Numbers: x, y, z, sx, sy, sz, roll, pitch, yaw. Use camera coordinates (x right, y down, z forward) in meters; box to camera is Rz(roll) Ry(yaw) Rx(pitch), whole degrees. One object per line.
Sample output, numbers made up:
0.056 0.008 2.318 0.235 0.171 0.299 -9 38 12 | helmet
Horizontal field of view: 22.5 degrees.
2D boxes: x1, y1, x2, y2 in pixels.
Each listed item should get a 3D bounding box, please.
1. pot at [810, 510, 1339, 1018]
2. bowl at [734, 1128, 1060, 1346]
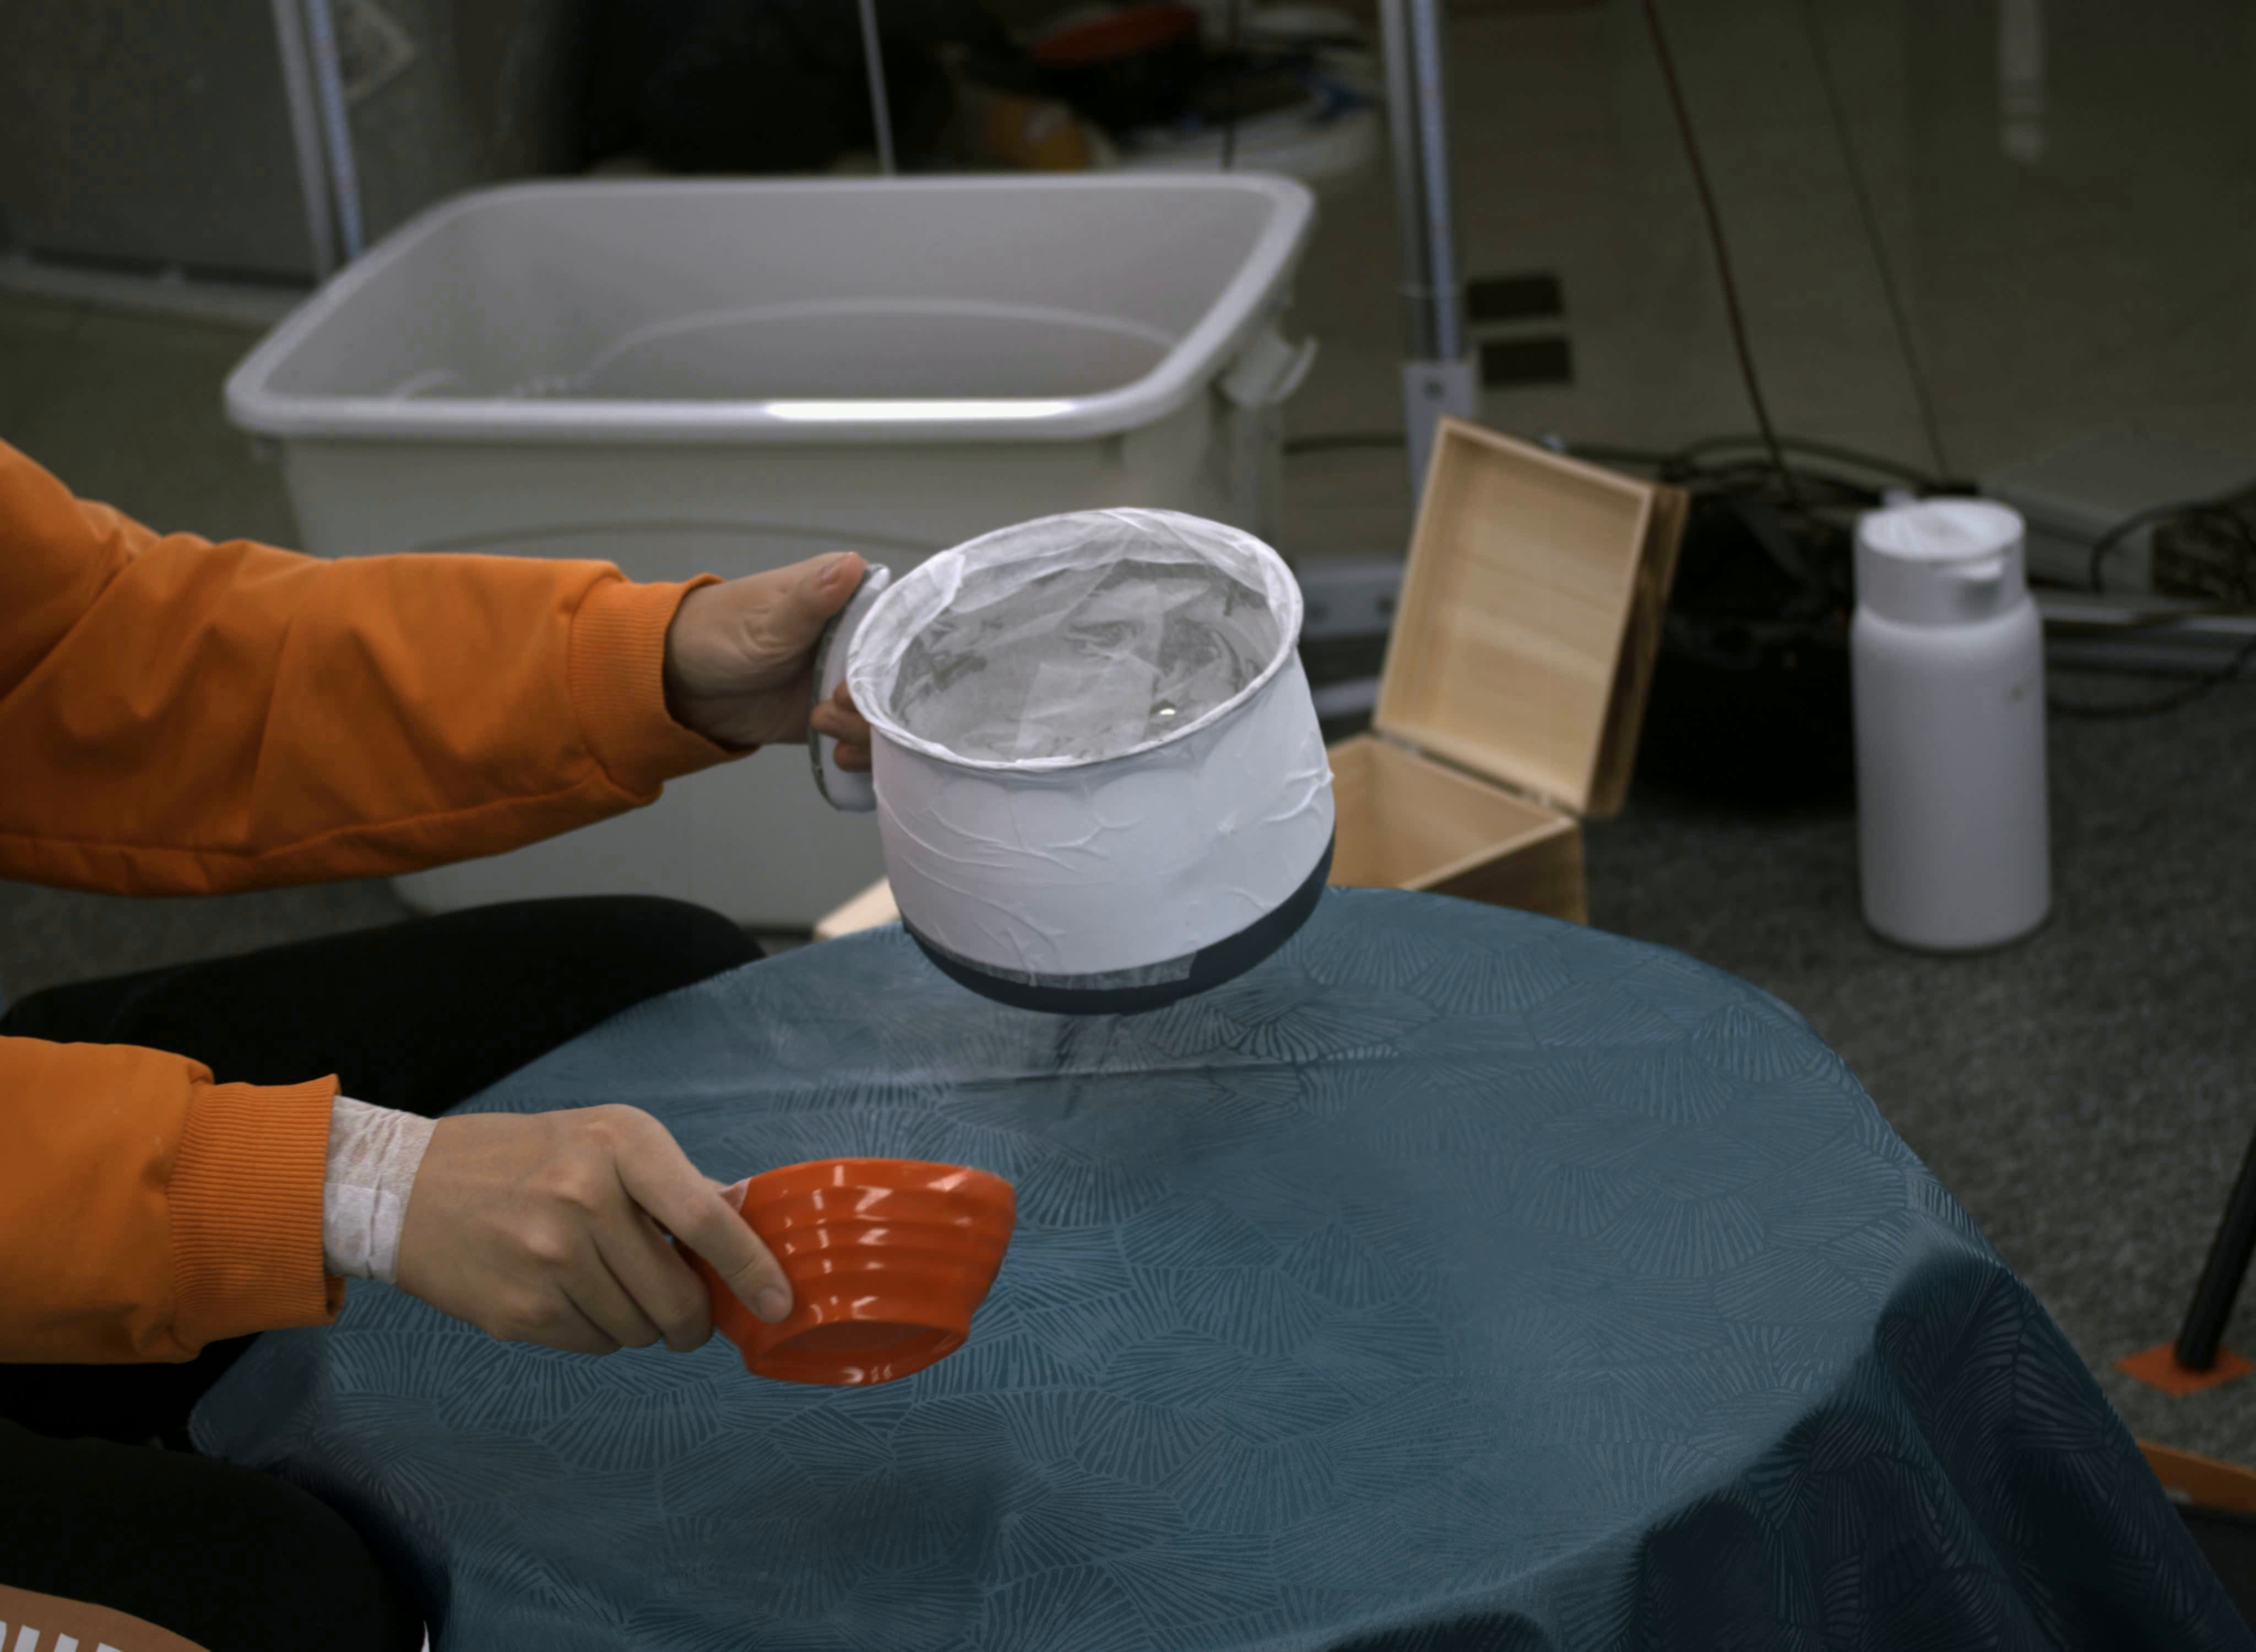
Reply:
-0.032 -0.028 2.202 0.232 0.139 0.176 17 43 33 | pot
-0.082 0.143 1.926 0.118 0.051 0.120 9 -16 2 | bowl
